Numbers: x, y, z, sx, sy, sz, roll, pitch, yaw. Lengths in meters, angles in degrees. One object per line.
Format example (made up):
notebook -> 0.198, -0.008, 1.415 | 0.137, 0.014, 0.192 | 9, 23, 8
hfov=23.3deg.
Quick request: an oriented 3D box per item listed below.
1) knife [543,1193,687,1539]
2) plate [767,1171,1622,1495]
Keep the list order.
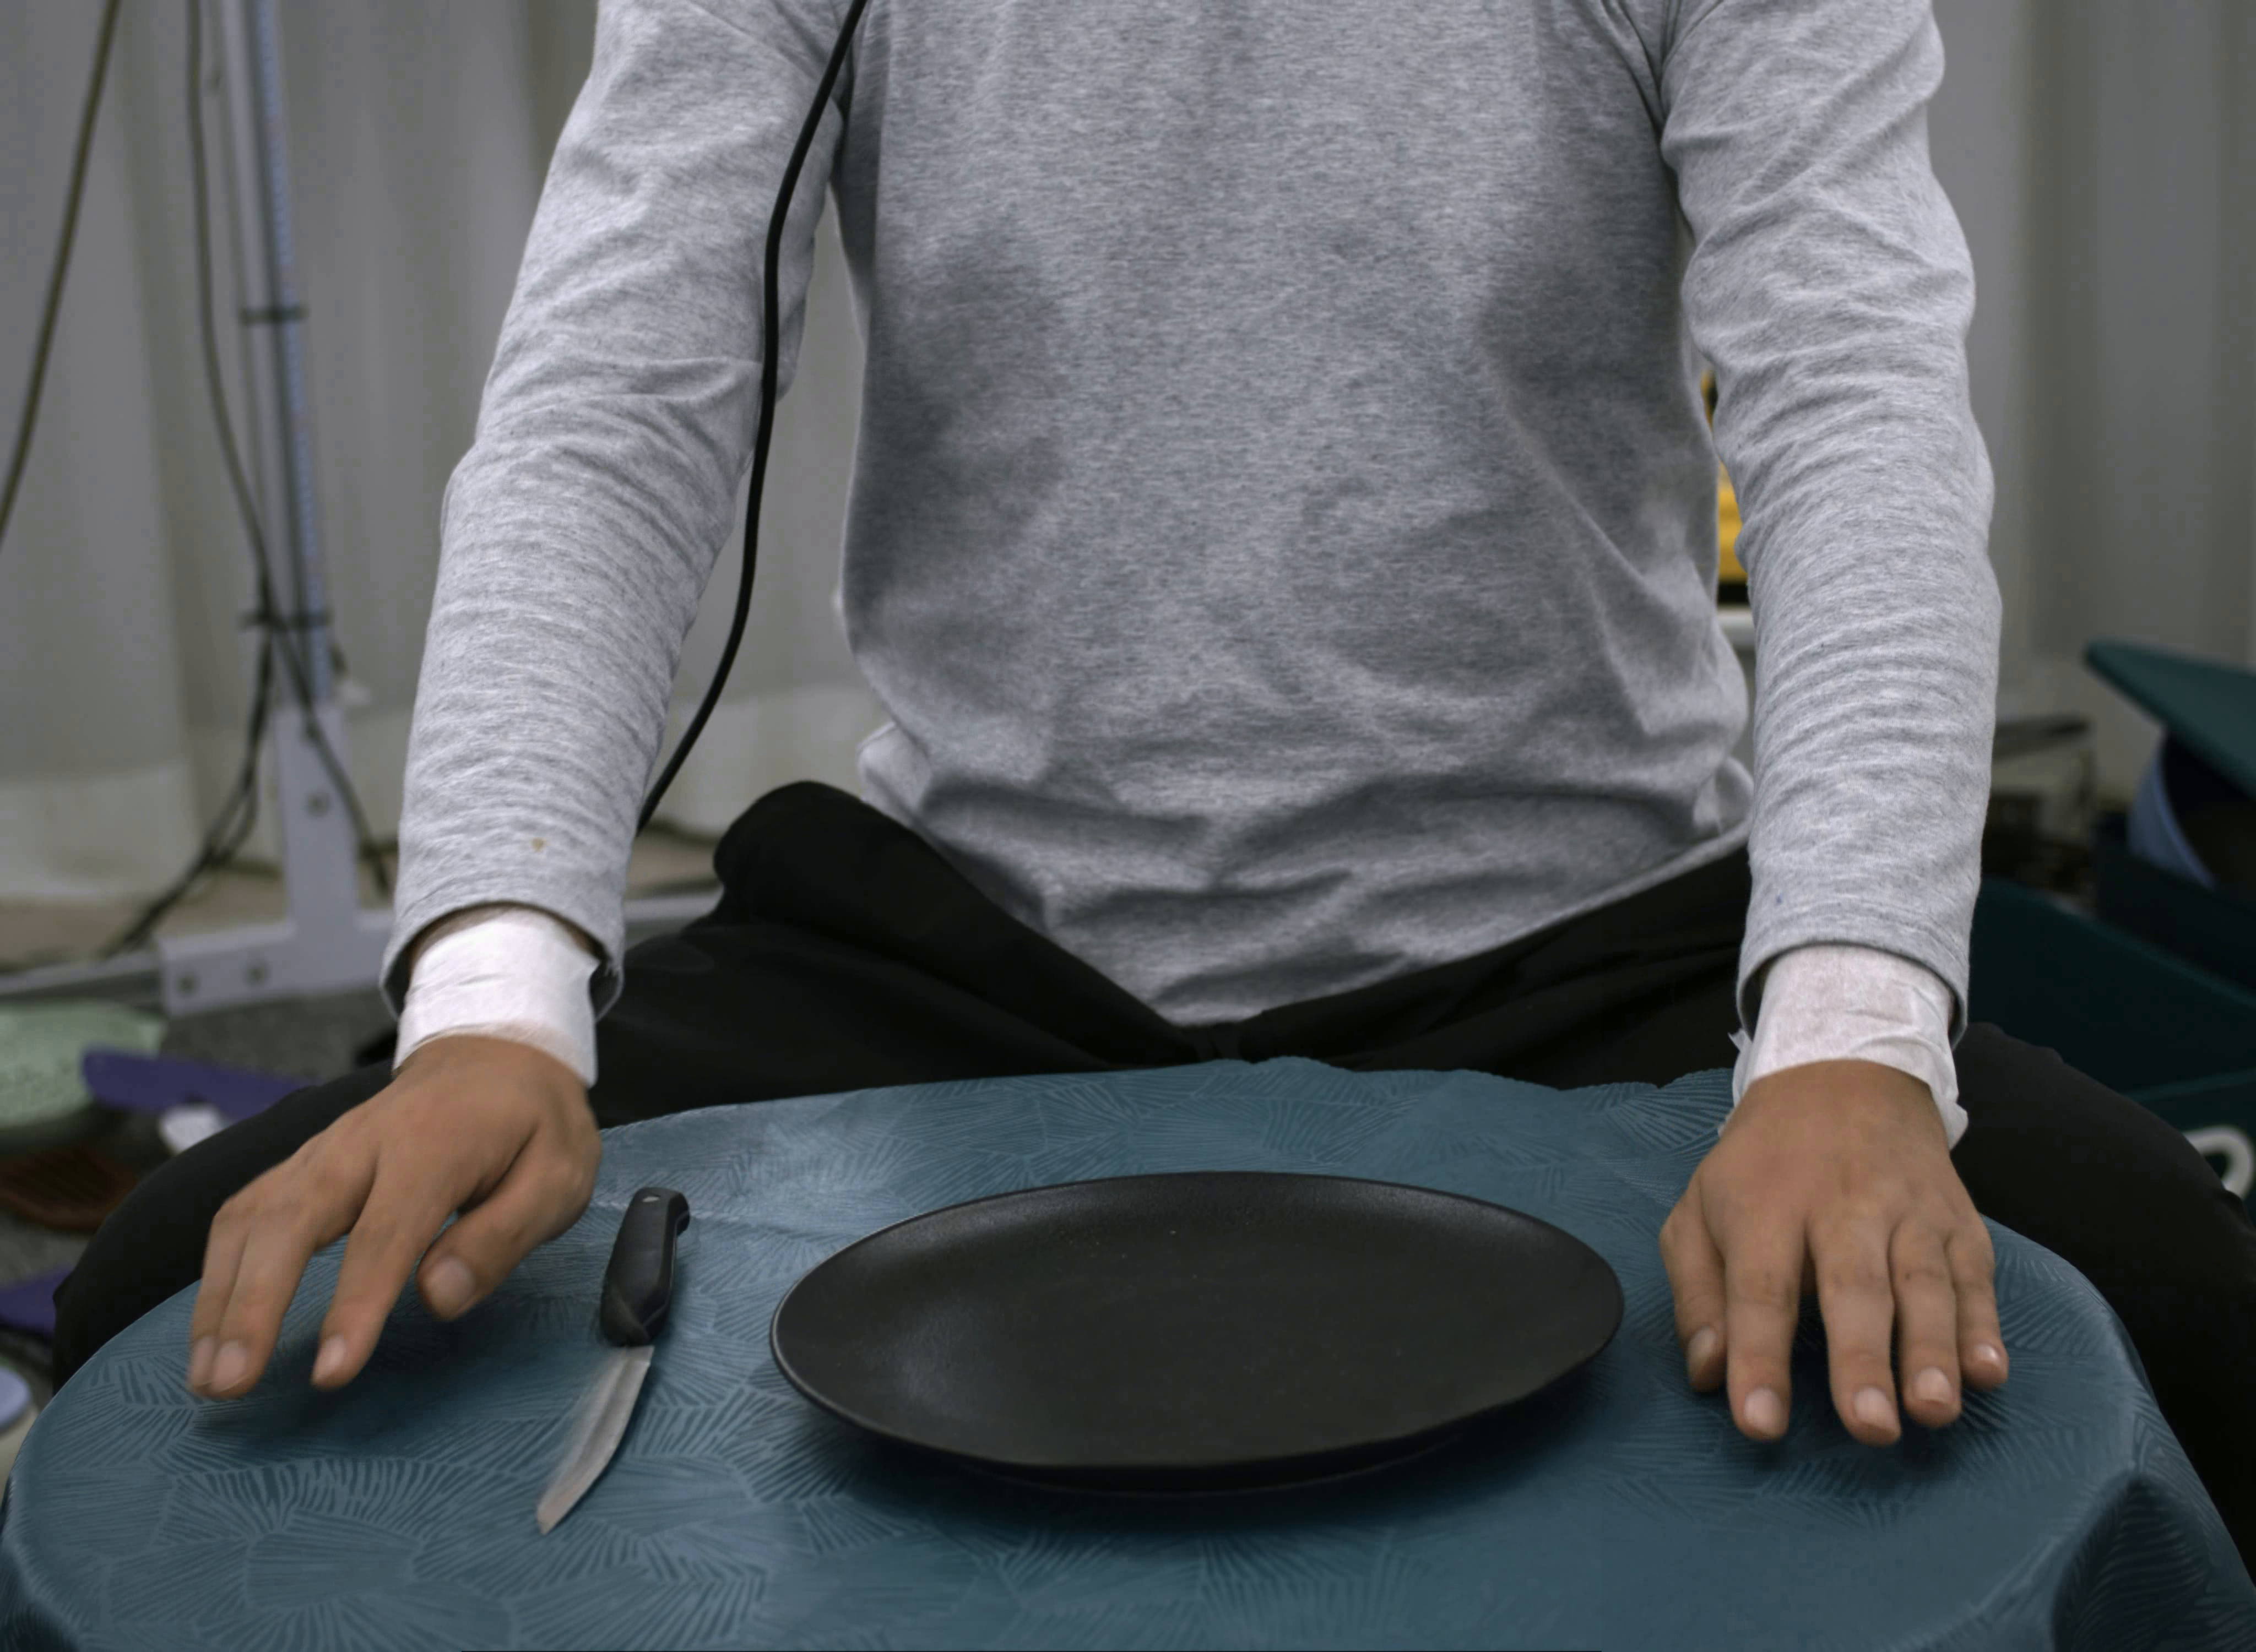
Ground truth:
knife -> -0.150, 0.154, 1.574 | 0.024, 0.016, 0.240 | -2, 17, 3
plate -> 0.019, 0.146, 1.551 | 0.243, 0.023, 0.246 | -3, 15, 0
